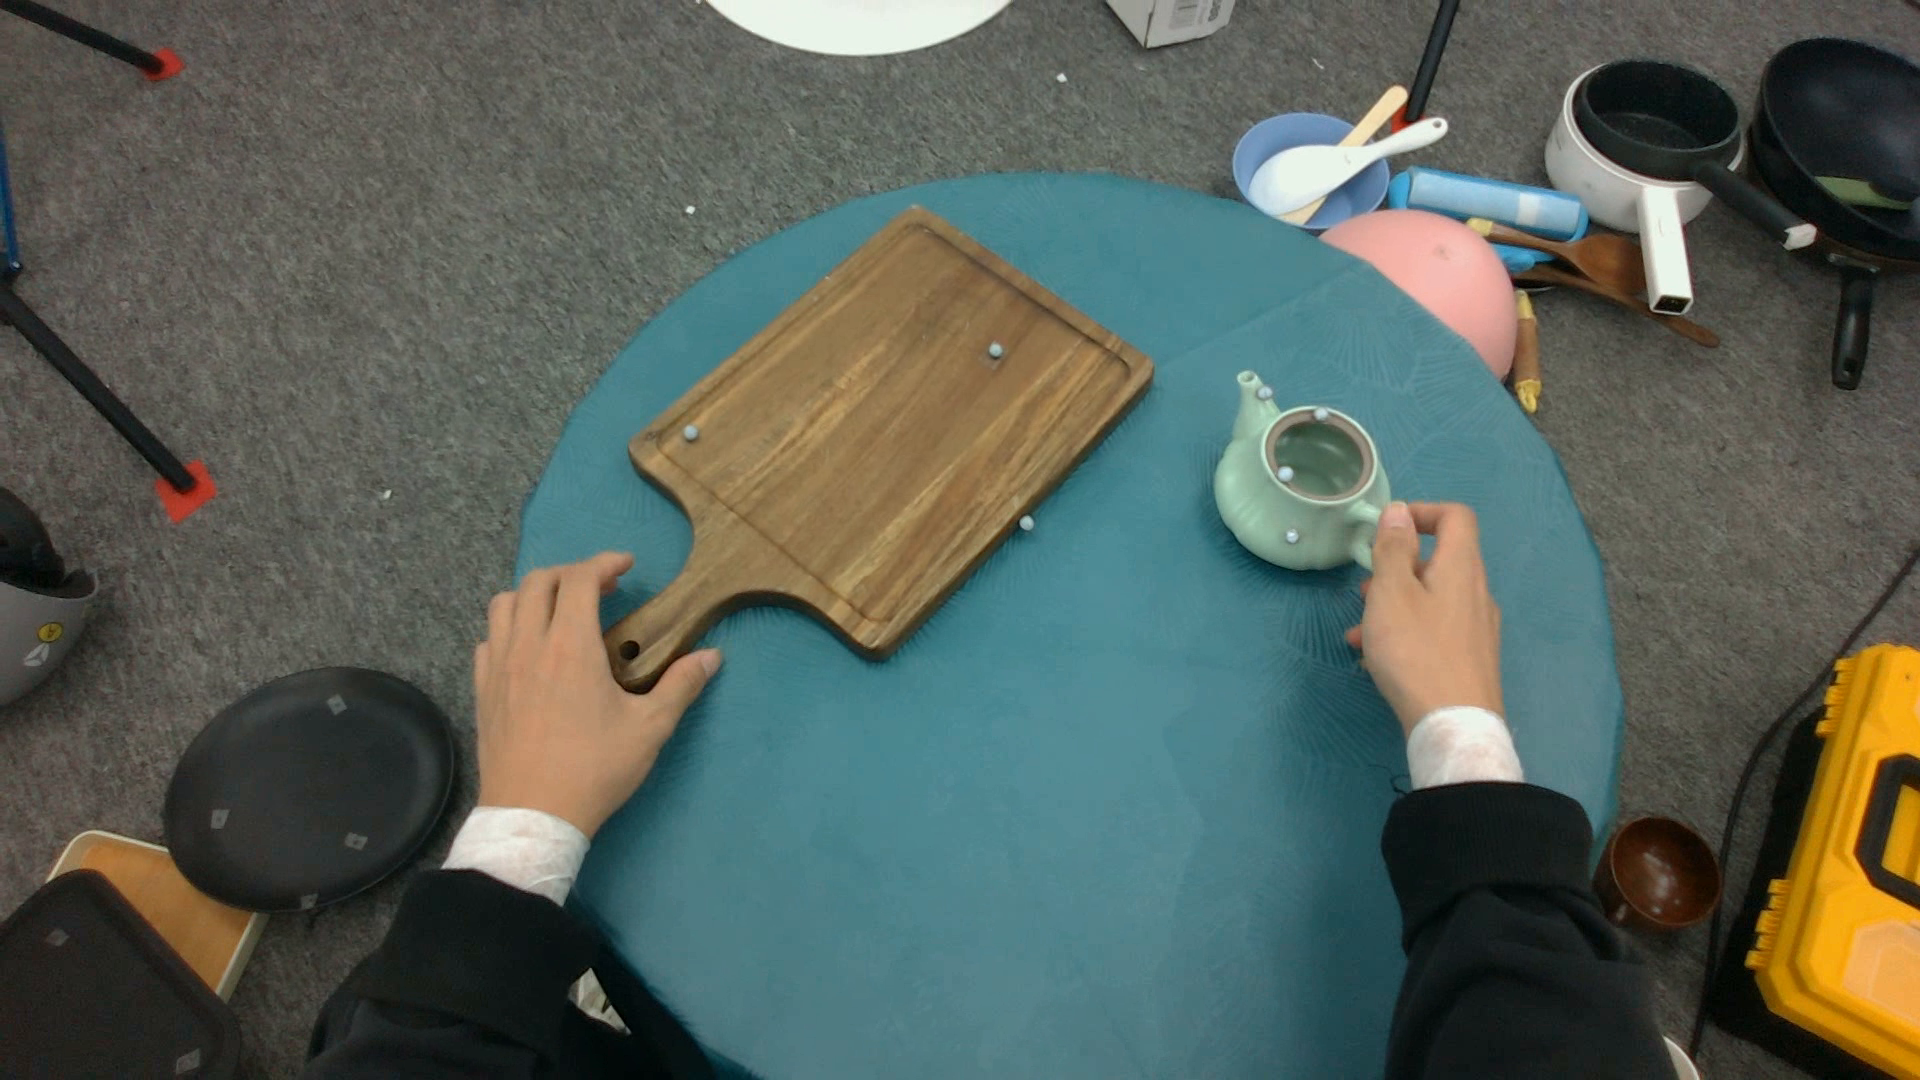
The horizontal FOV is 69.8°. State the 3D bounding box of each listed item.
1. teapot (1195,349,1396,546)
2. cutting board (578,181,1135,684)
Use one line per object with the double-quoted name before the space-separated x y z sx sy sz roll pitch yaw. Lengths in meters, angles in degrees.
"teapot" 0.183 -0.044 0.755 0.096 0.061 0.137 -32 67 -19
"cutting board" -0.079 -0.053 0.772 0.201 0.023 0.353 36 66 17
